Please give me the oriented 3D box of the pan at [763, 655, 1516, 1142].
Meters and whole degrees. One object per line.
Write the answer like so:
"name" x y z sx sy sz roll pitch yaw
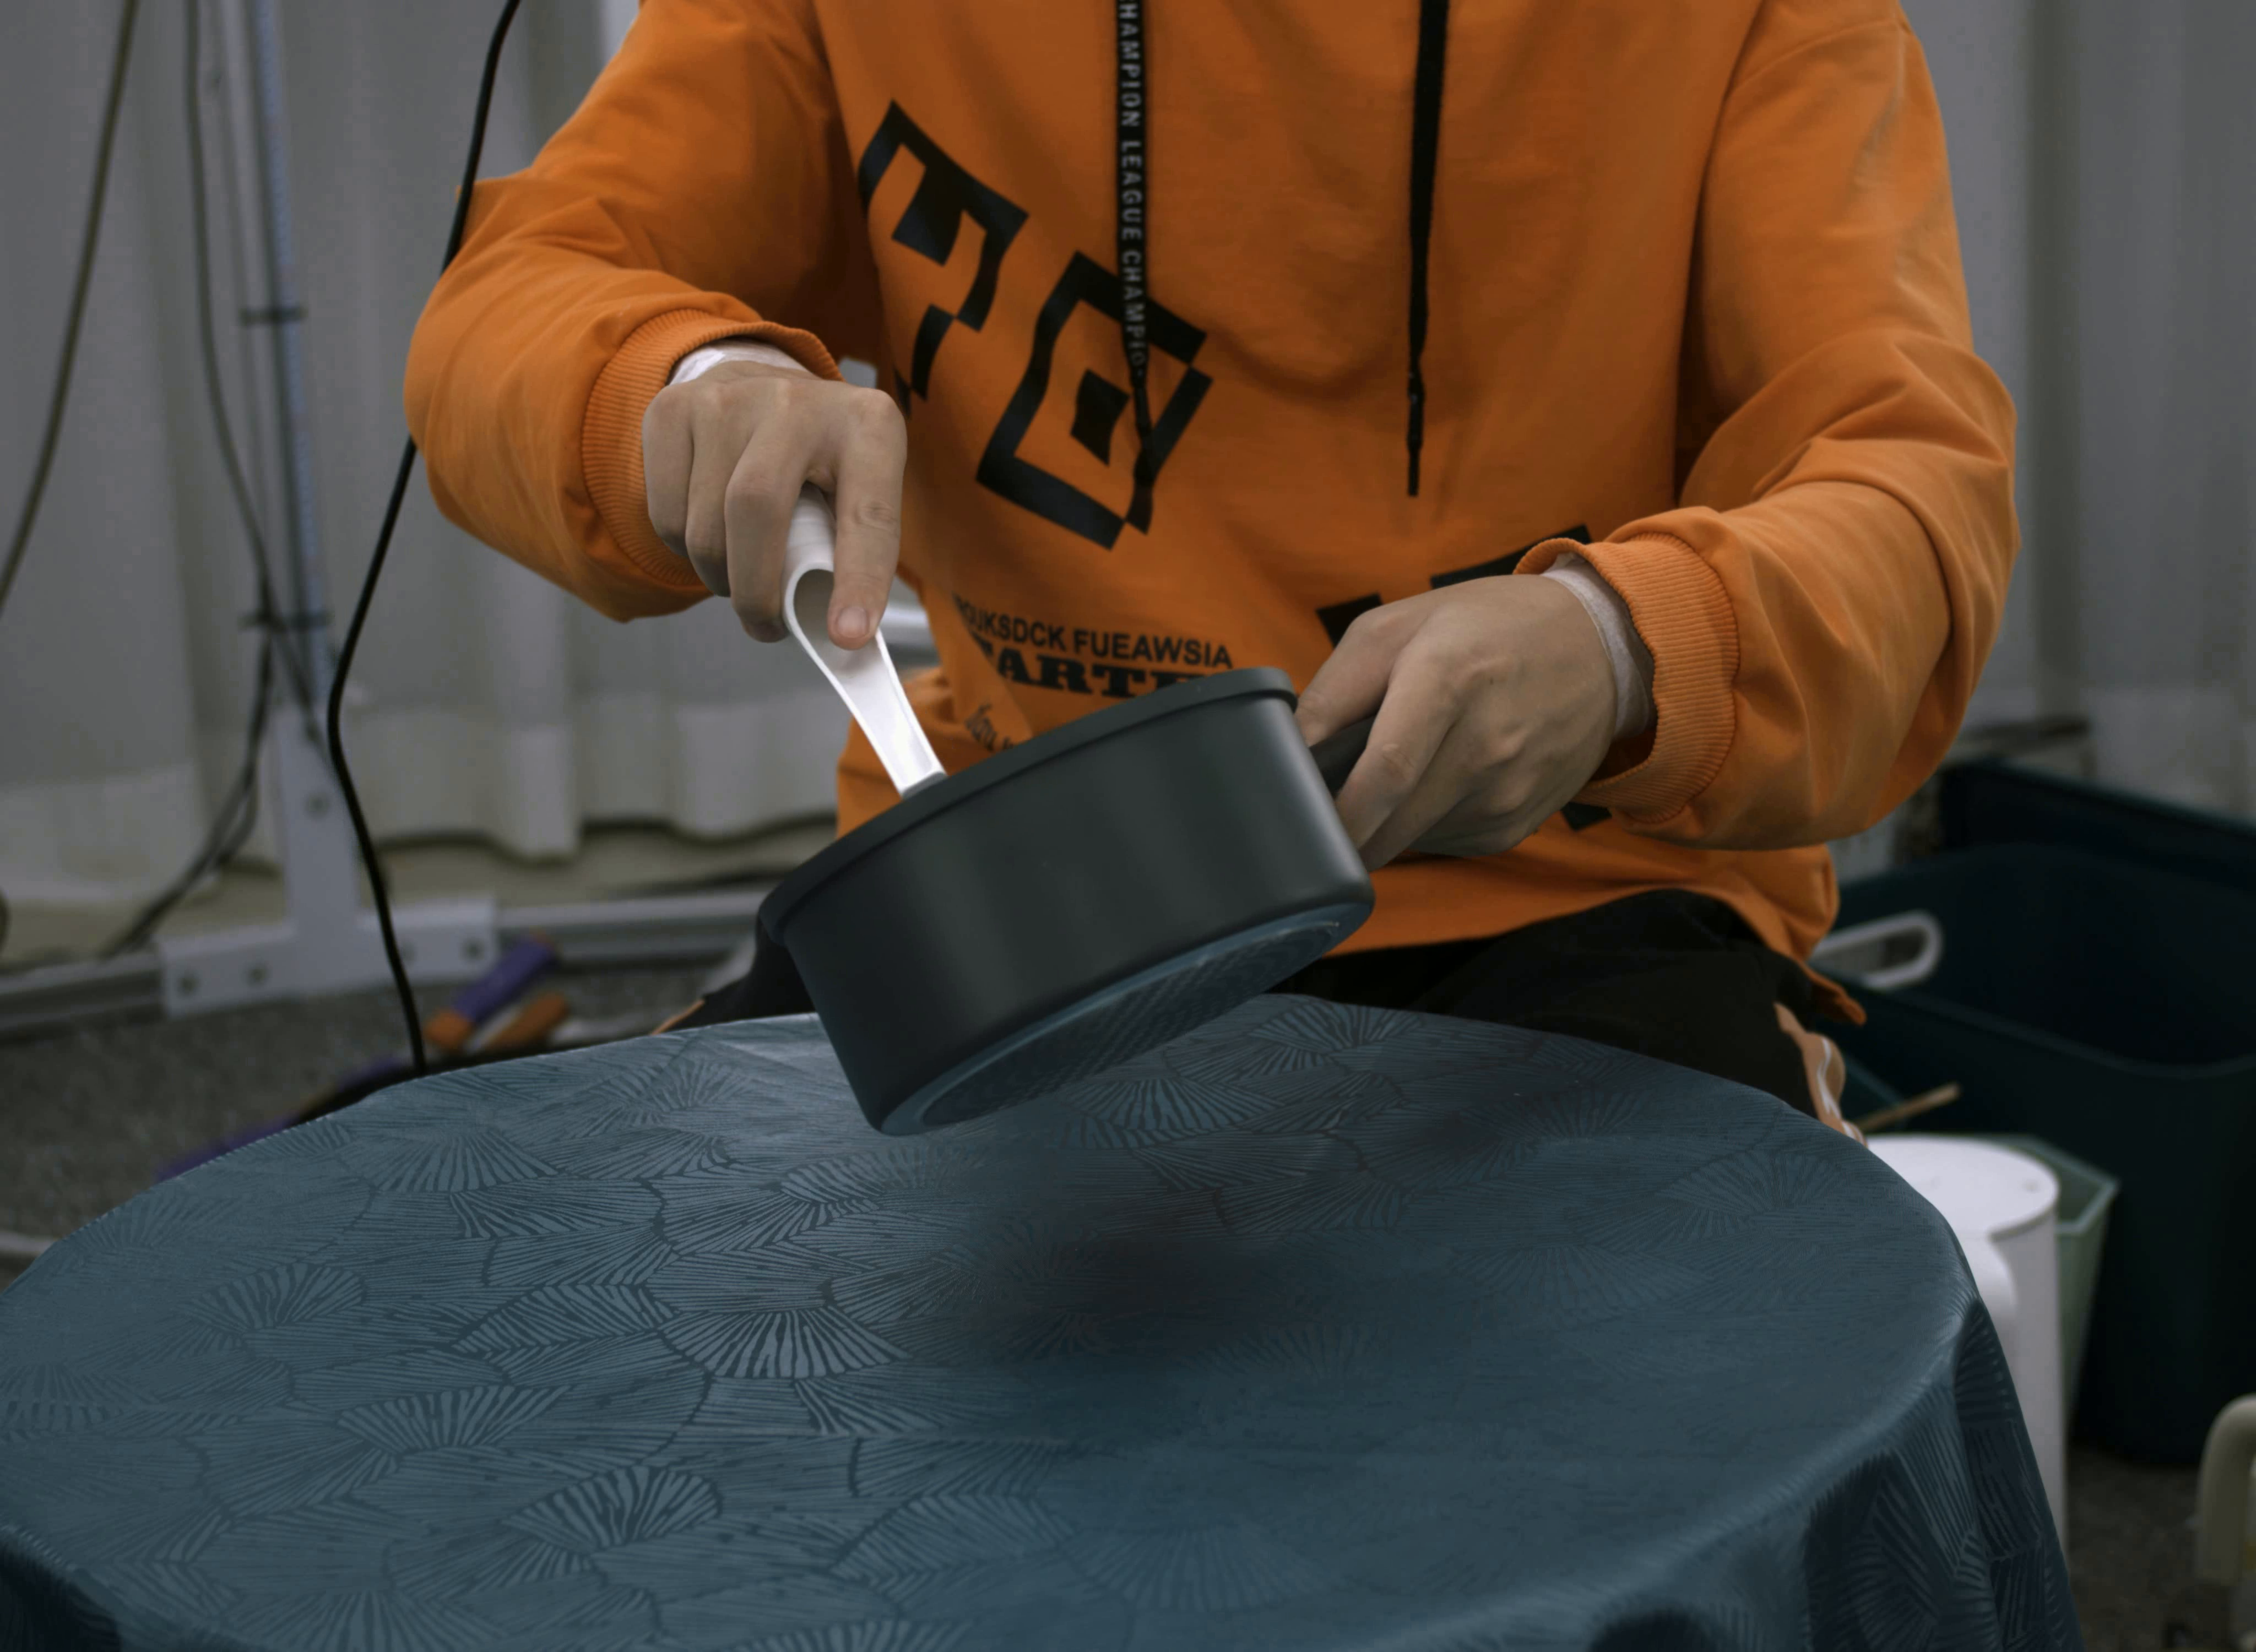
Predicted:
"pan" 0.031 0.012 1.662 0.171 0.087 0.328 -31 -10 36

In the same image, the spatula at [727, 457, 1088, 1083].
"spatula" -0.066 -0.024 1.684 0.058 0.032 0.292 -27 42 -4
